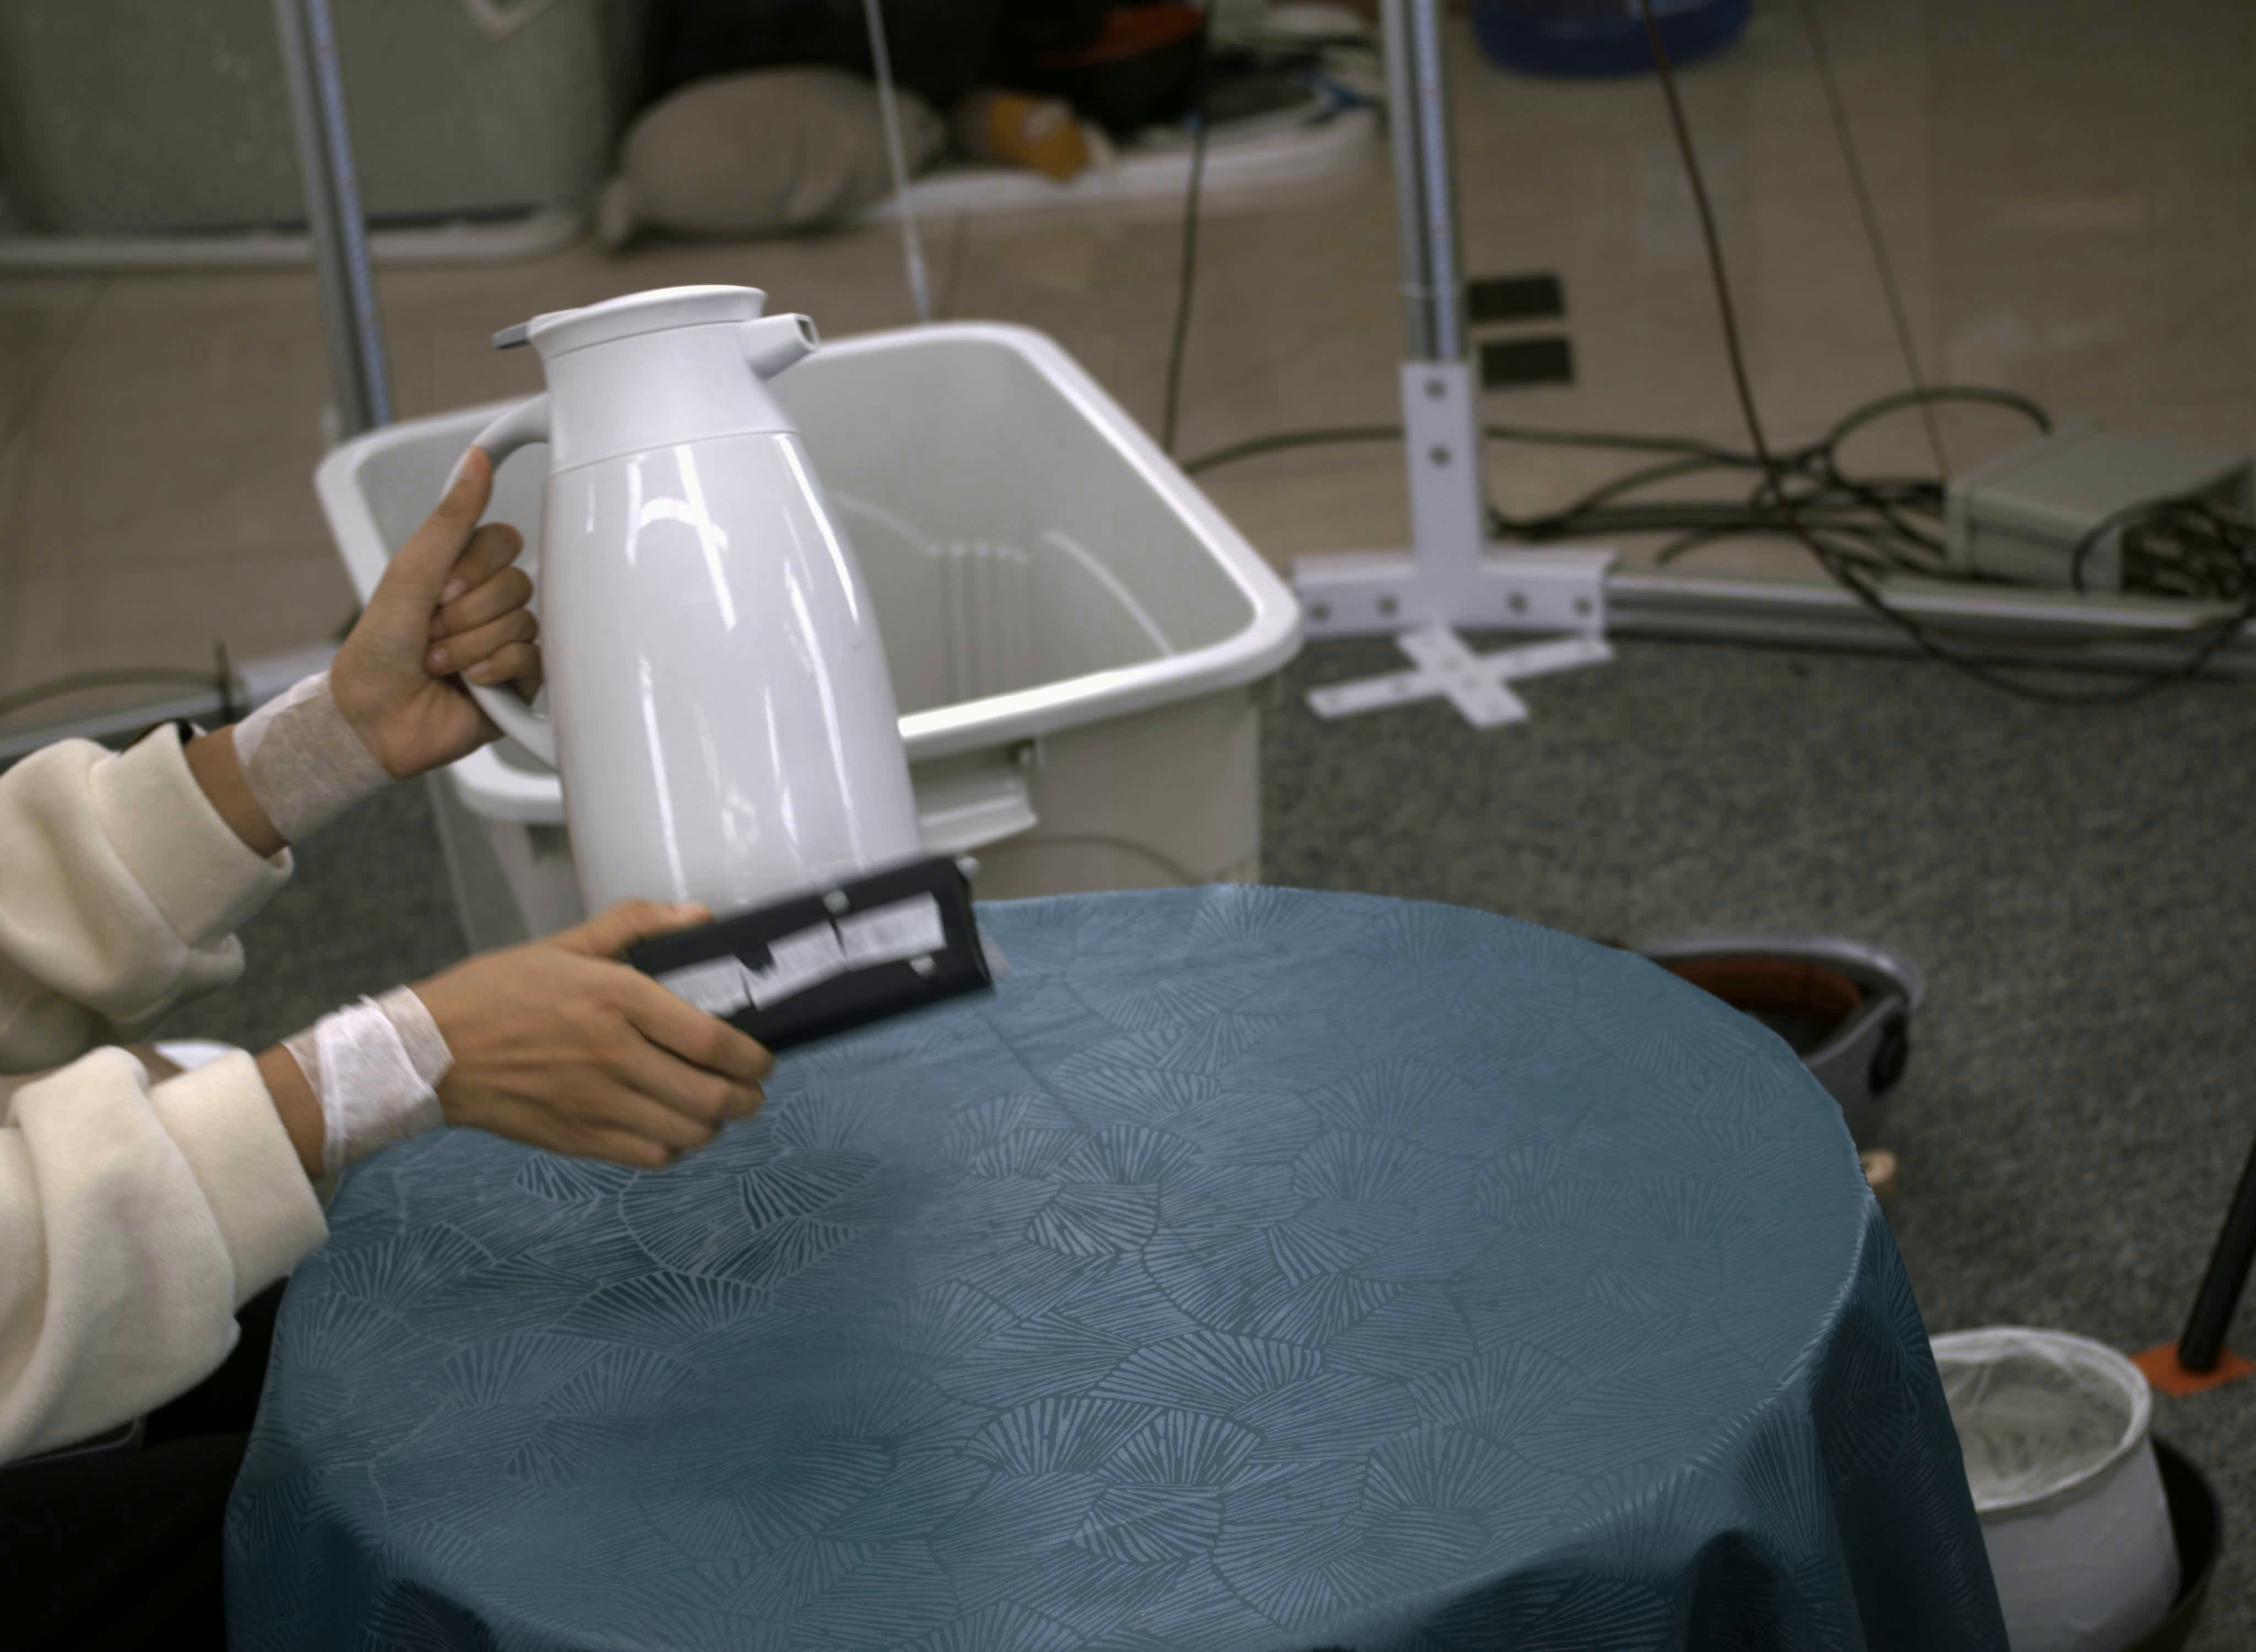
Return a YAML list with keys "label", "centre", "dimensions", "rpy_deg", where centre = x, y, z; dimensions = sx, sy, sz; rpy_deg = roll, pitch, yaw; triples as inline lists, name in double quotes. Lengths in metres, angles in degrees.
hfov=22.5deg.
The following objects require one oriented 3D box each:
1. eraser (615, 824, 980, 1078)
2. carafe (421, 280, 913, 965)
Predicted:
- label: "eraser"
  centre: [-0.118, 0.045, 2.036]
  dimensions: [0.125, 0.053, 0.031]
  rpy_deg: [-20, -15, 3]
- label: "carafe"
  centre: [-0.182, -0.077, 2.137]
  dimensions: [0.168, 0.249, 0.132]
  rpy_deg: [-12, 0, 15]
